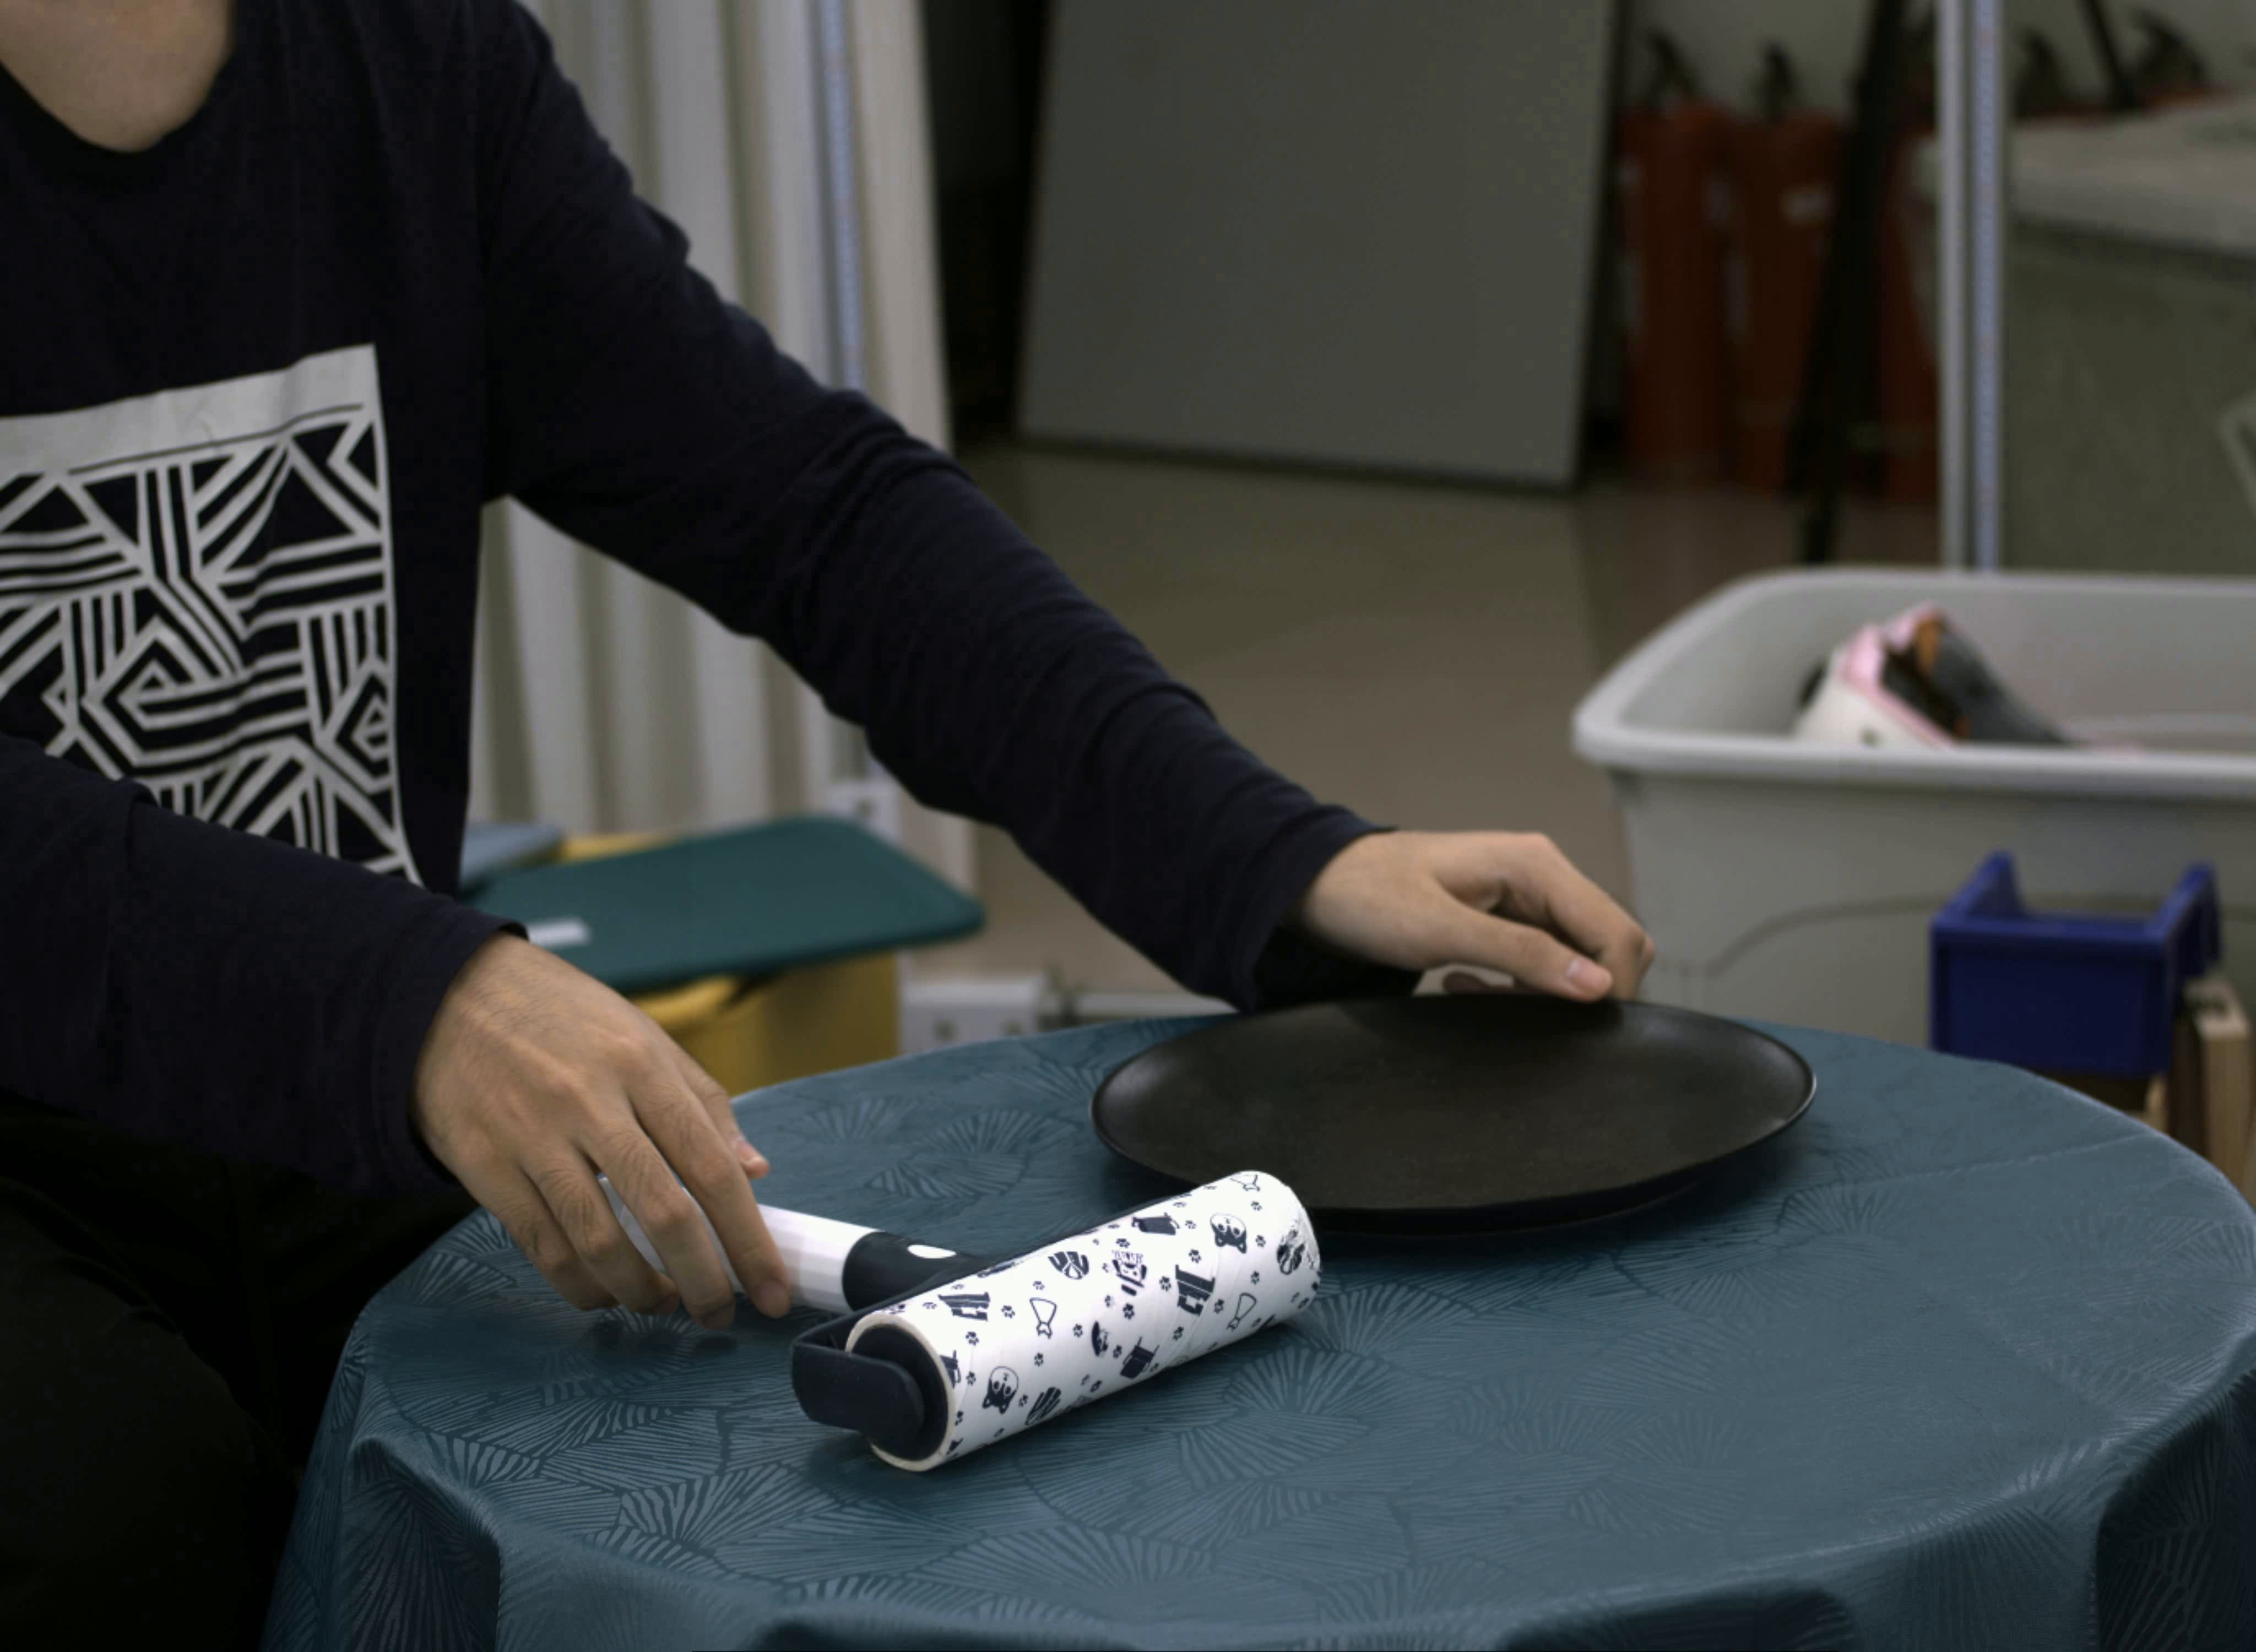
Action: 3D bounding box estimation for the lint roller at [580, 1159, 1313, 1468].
[{"bbox_3d":[-0.086,0.136,1.653,0.249,0.051,0.173,5,17,44],"label":"lint roller"}]

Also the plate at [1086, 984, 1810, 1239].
[{"bbox_3d":[0.106,0.097,1.789,0.241,0.024,0.245,-4,15,0],"label":"plate"}]
